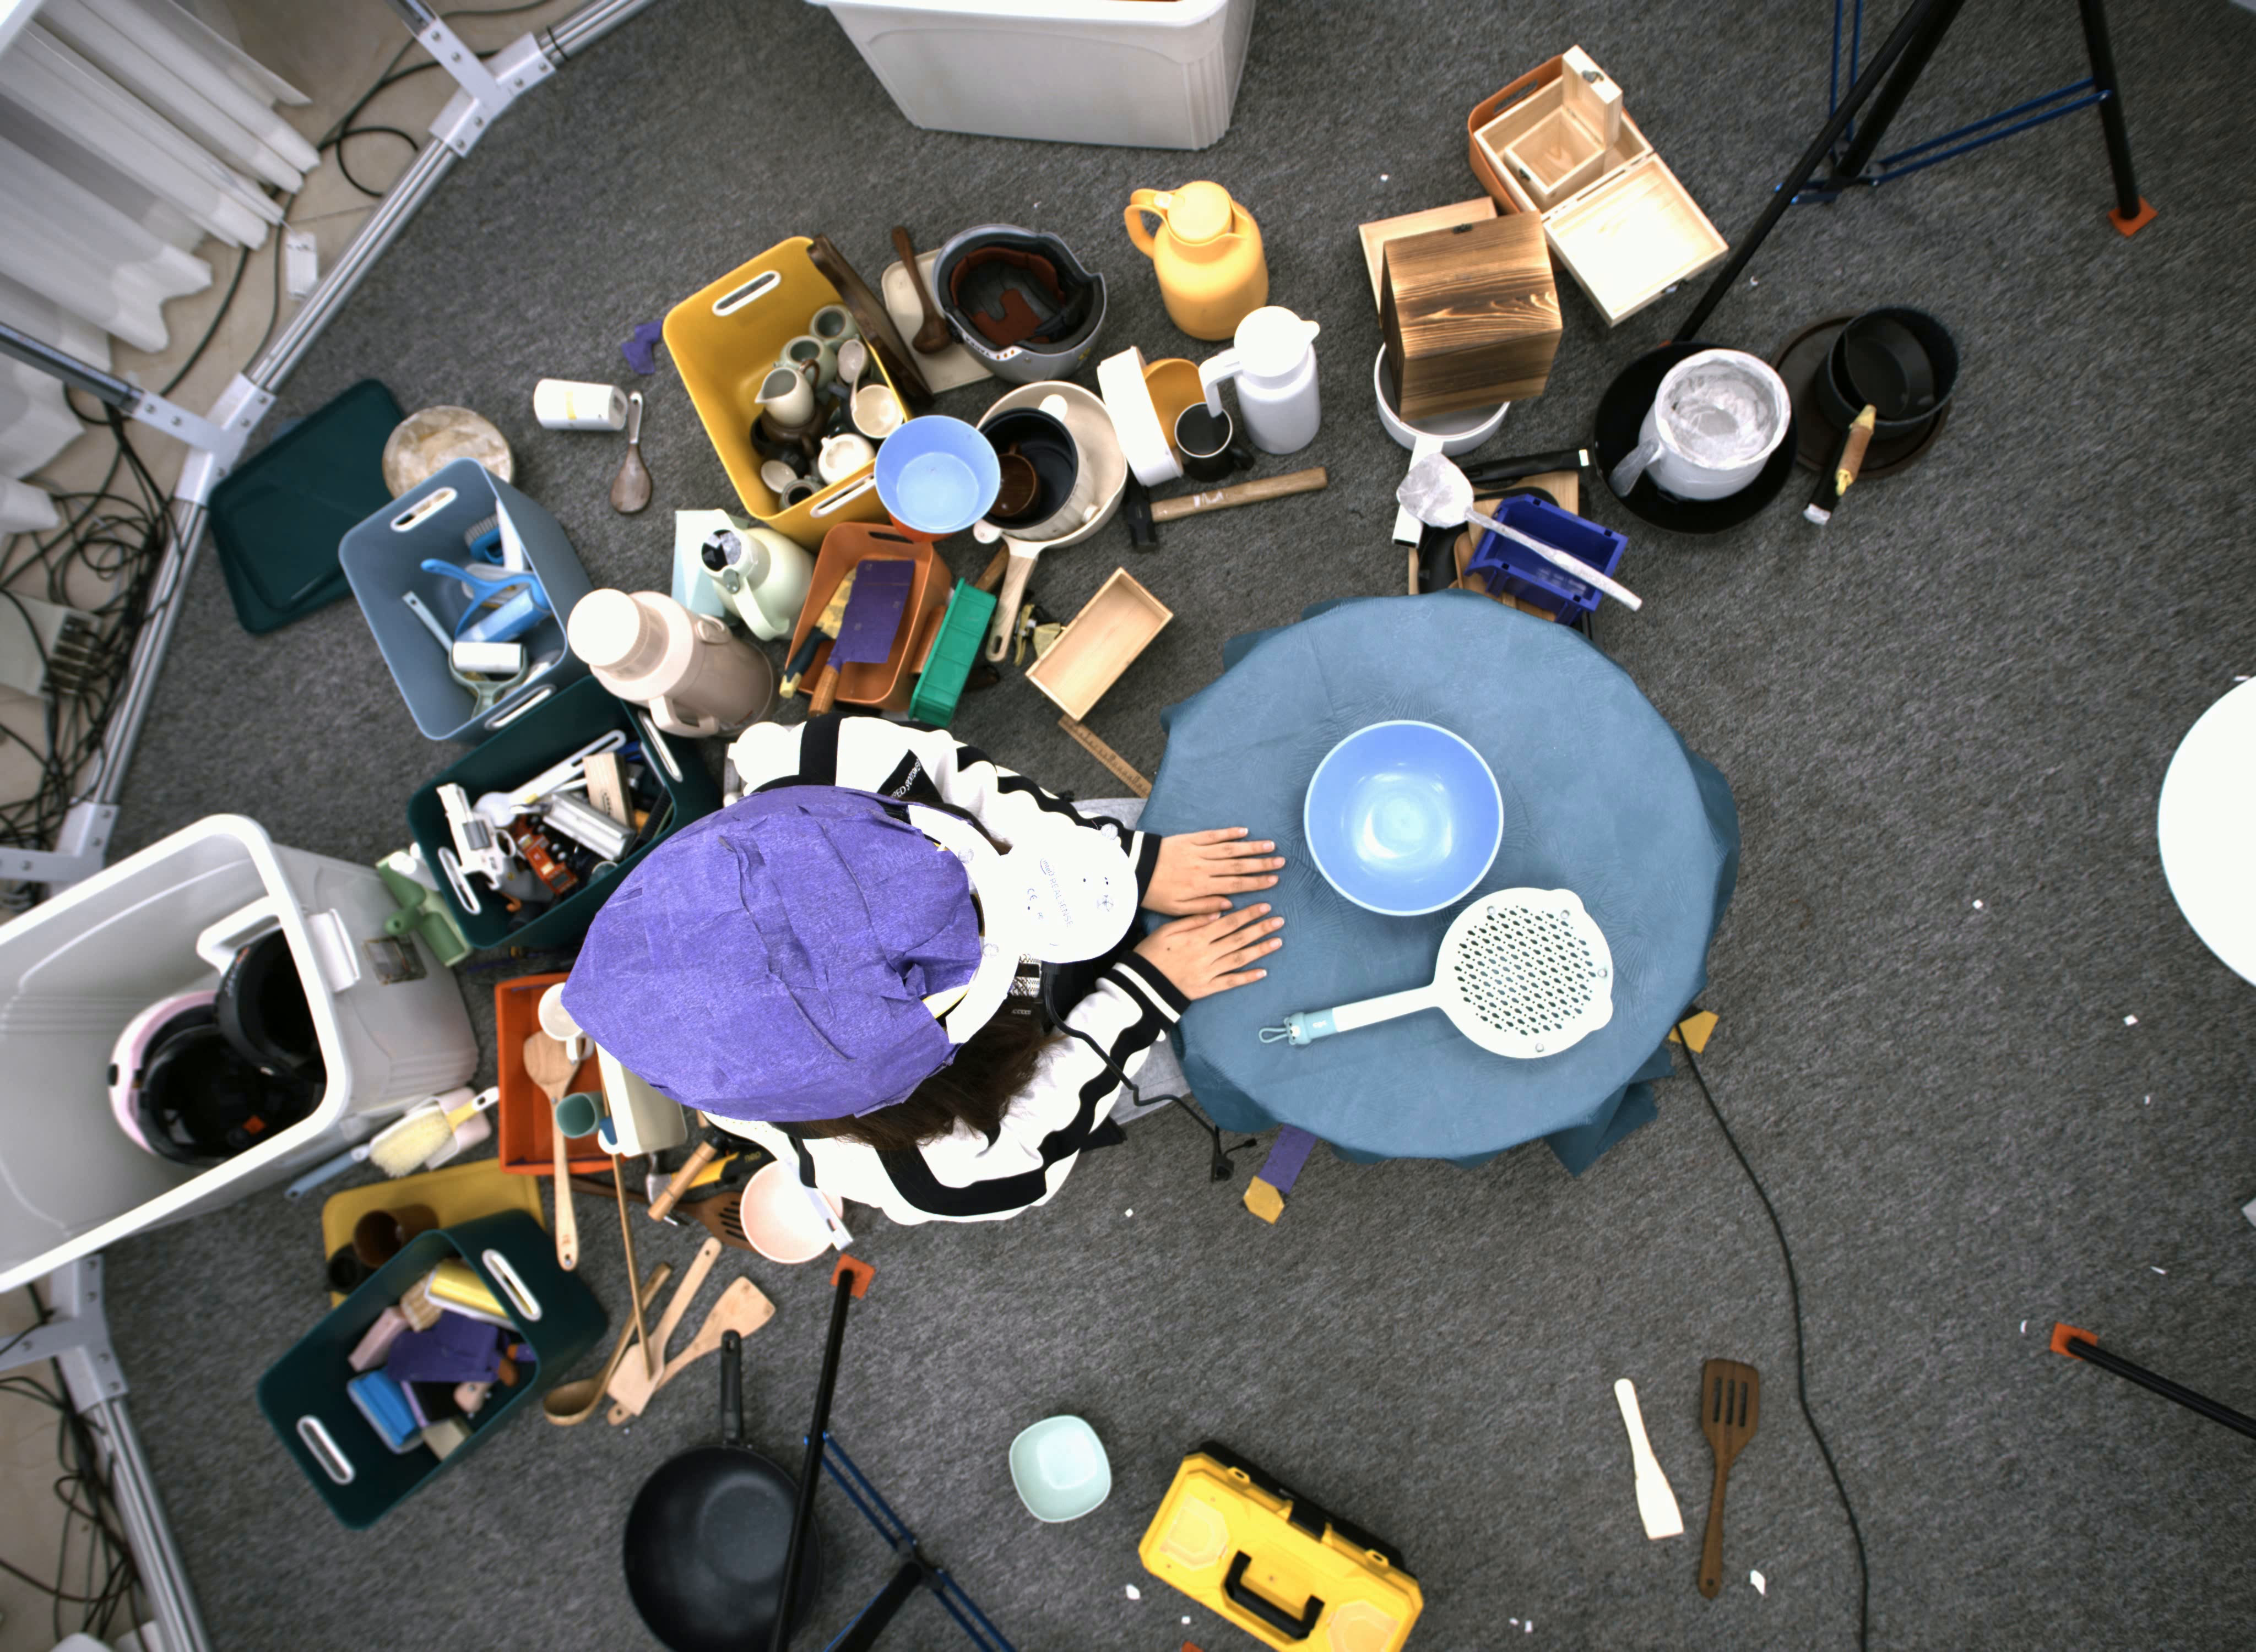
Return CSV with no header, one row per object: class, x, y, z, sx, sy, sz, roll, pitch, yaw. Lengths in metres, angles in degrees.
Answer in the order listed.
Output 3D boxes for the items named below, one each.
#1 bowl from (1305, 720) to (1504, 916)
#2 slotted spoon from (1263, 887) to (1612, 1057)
bowl,0.282,-0.005,1.414,0.197,0.095,0.195,-1,86,10
slotted spoon,0.310,0.172,1.418,0.361,0.075,0.168,-16,83,11
